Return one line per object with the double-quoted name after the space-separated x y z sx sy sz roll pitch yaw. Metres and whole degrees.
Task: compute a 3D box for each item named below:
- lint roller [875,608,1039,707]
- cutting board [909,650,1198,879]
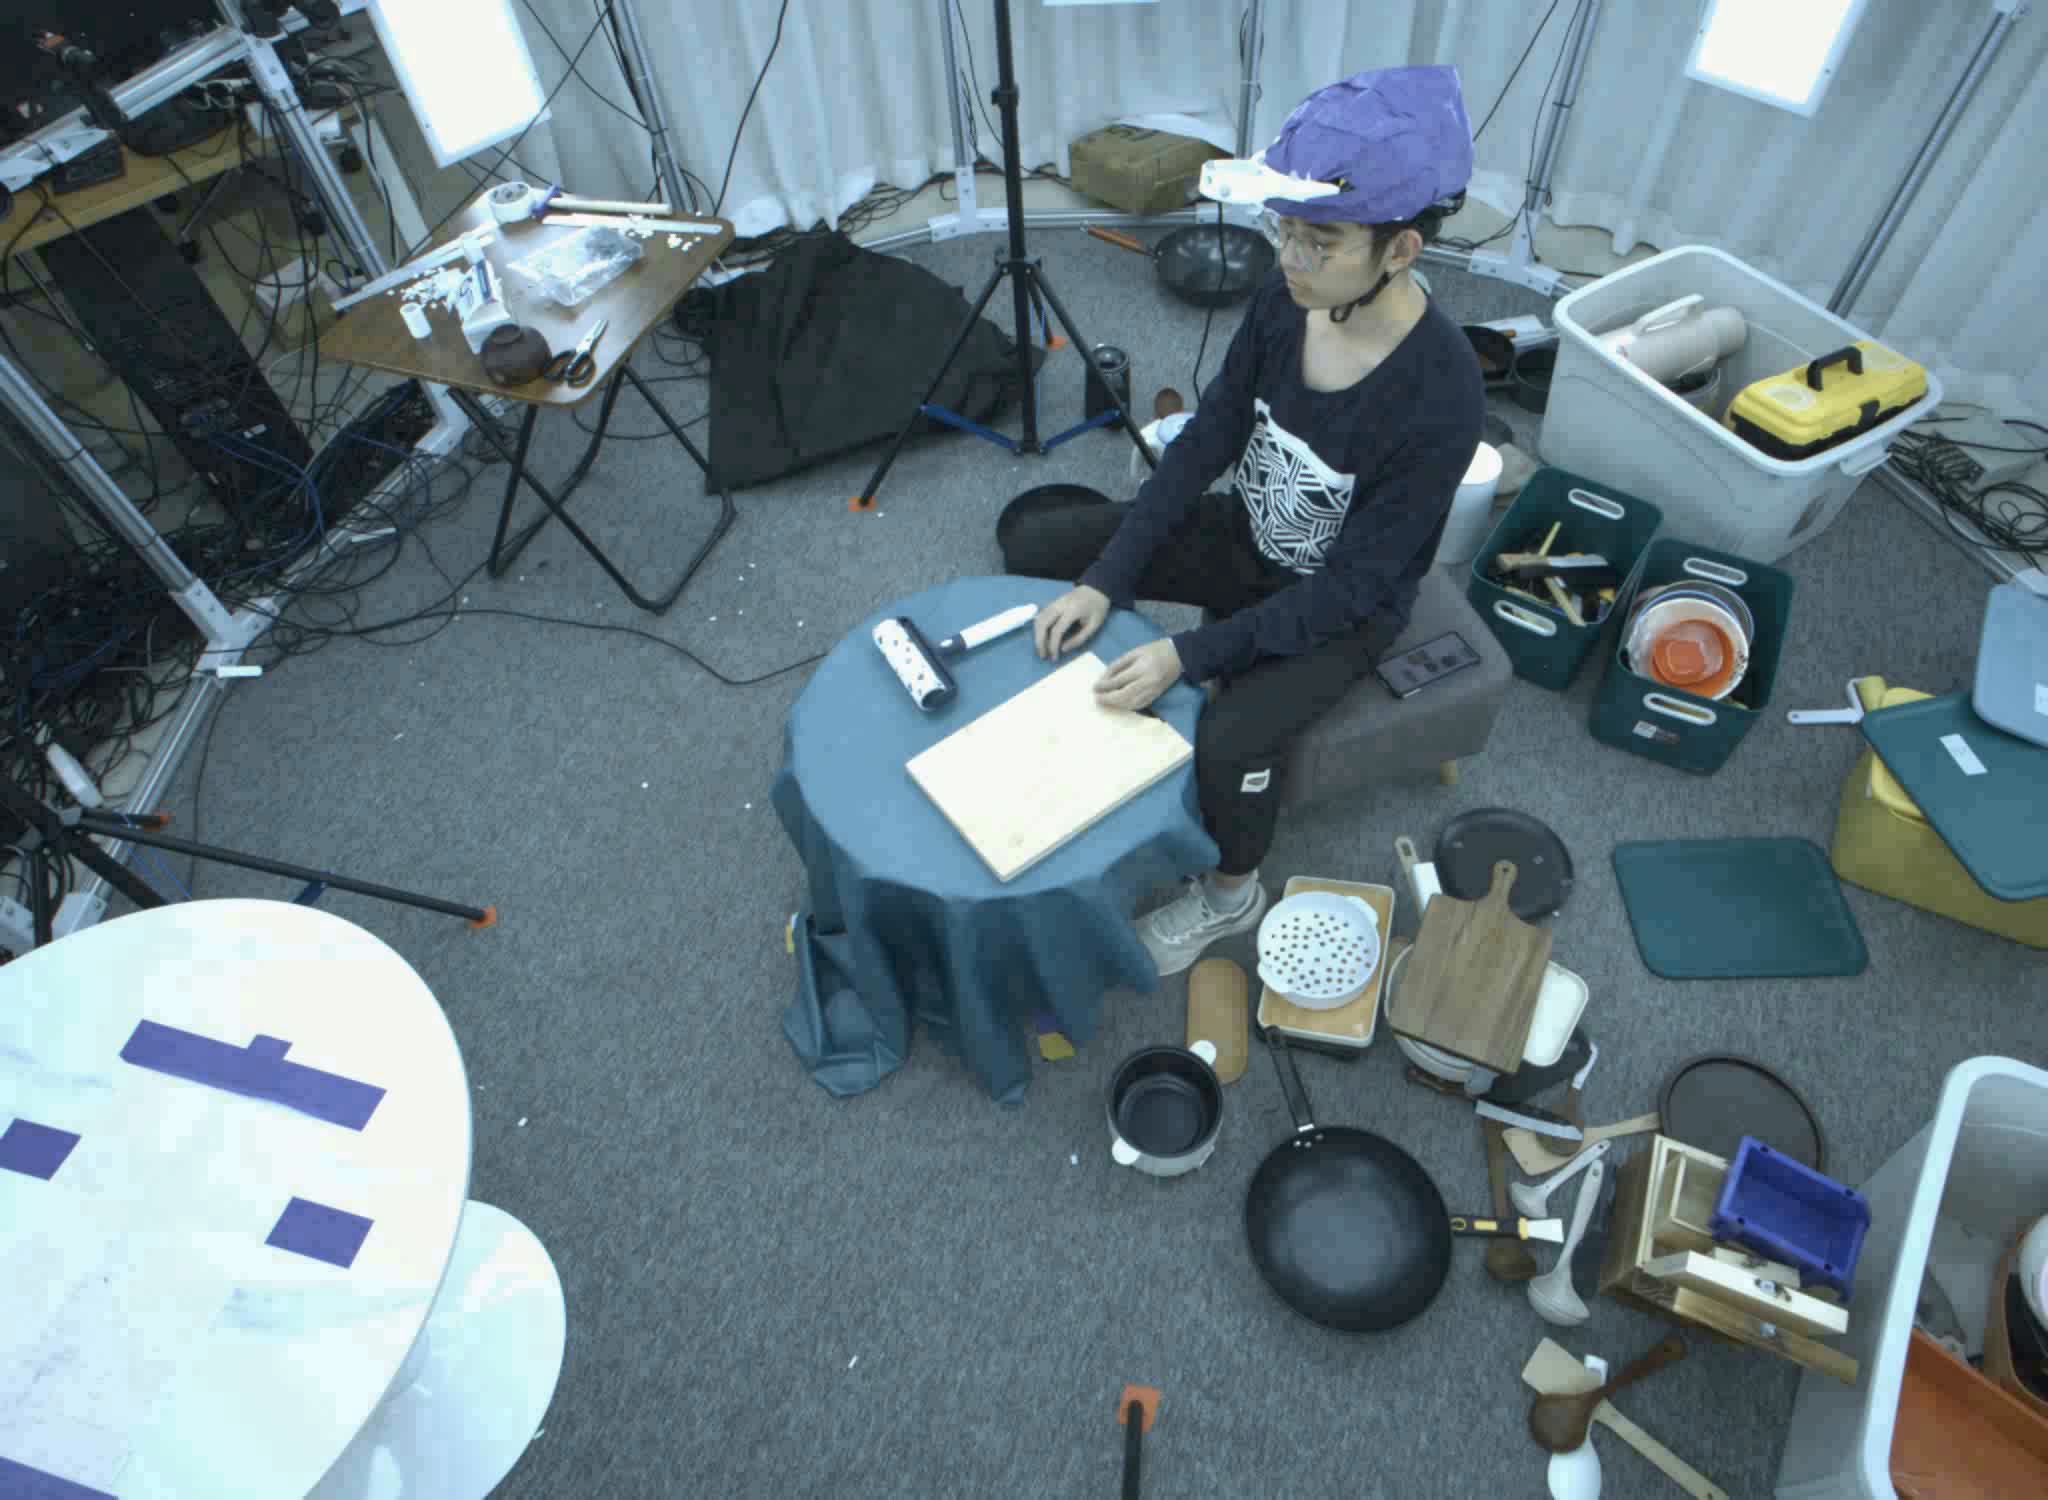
-0.088 -0.174 1.896 0.249 0.051 0.173 -26 56 -19 "lint roller"
0.040 0.011 1.777 0.351 0.024 0.246 -33 61 -20 "cutting board"
